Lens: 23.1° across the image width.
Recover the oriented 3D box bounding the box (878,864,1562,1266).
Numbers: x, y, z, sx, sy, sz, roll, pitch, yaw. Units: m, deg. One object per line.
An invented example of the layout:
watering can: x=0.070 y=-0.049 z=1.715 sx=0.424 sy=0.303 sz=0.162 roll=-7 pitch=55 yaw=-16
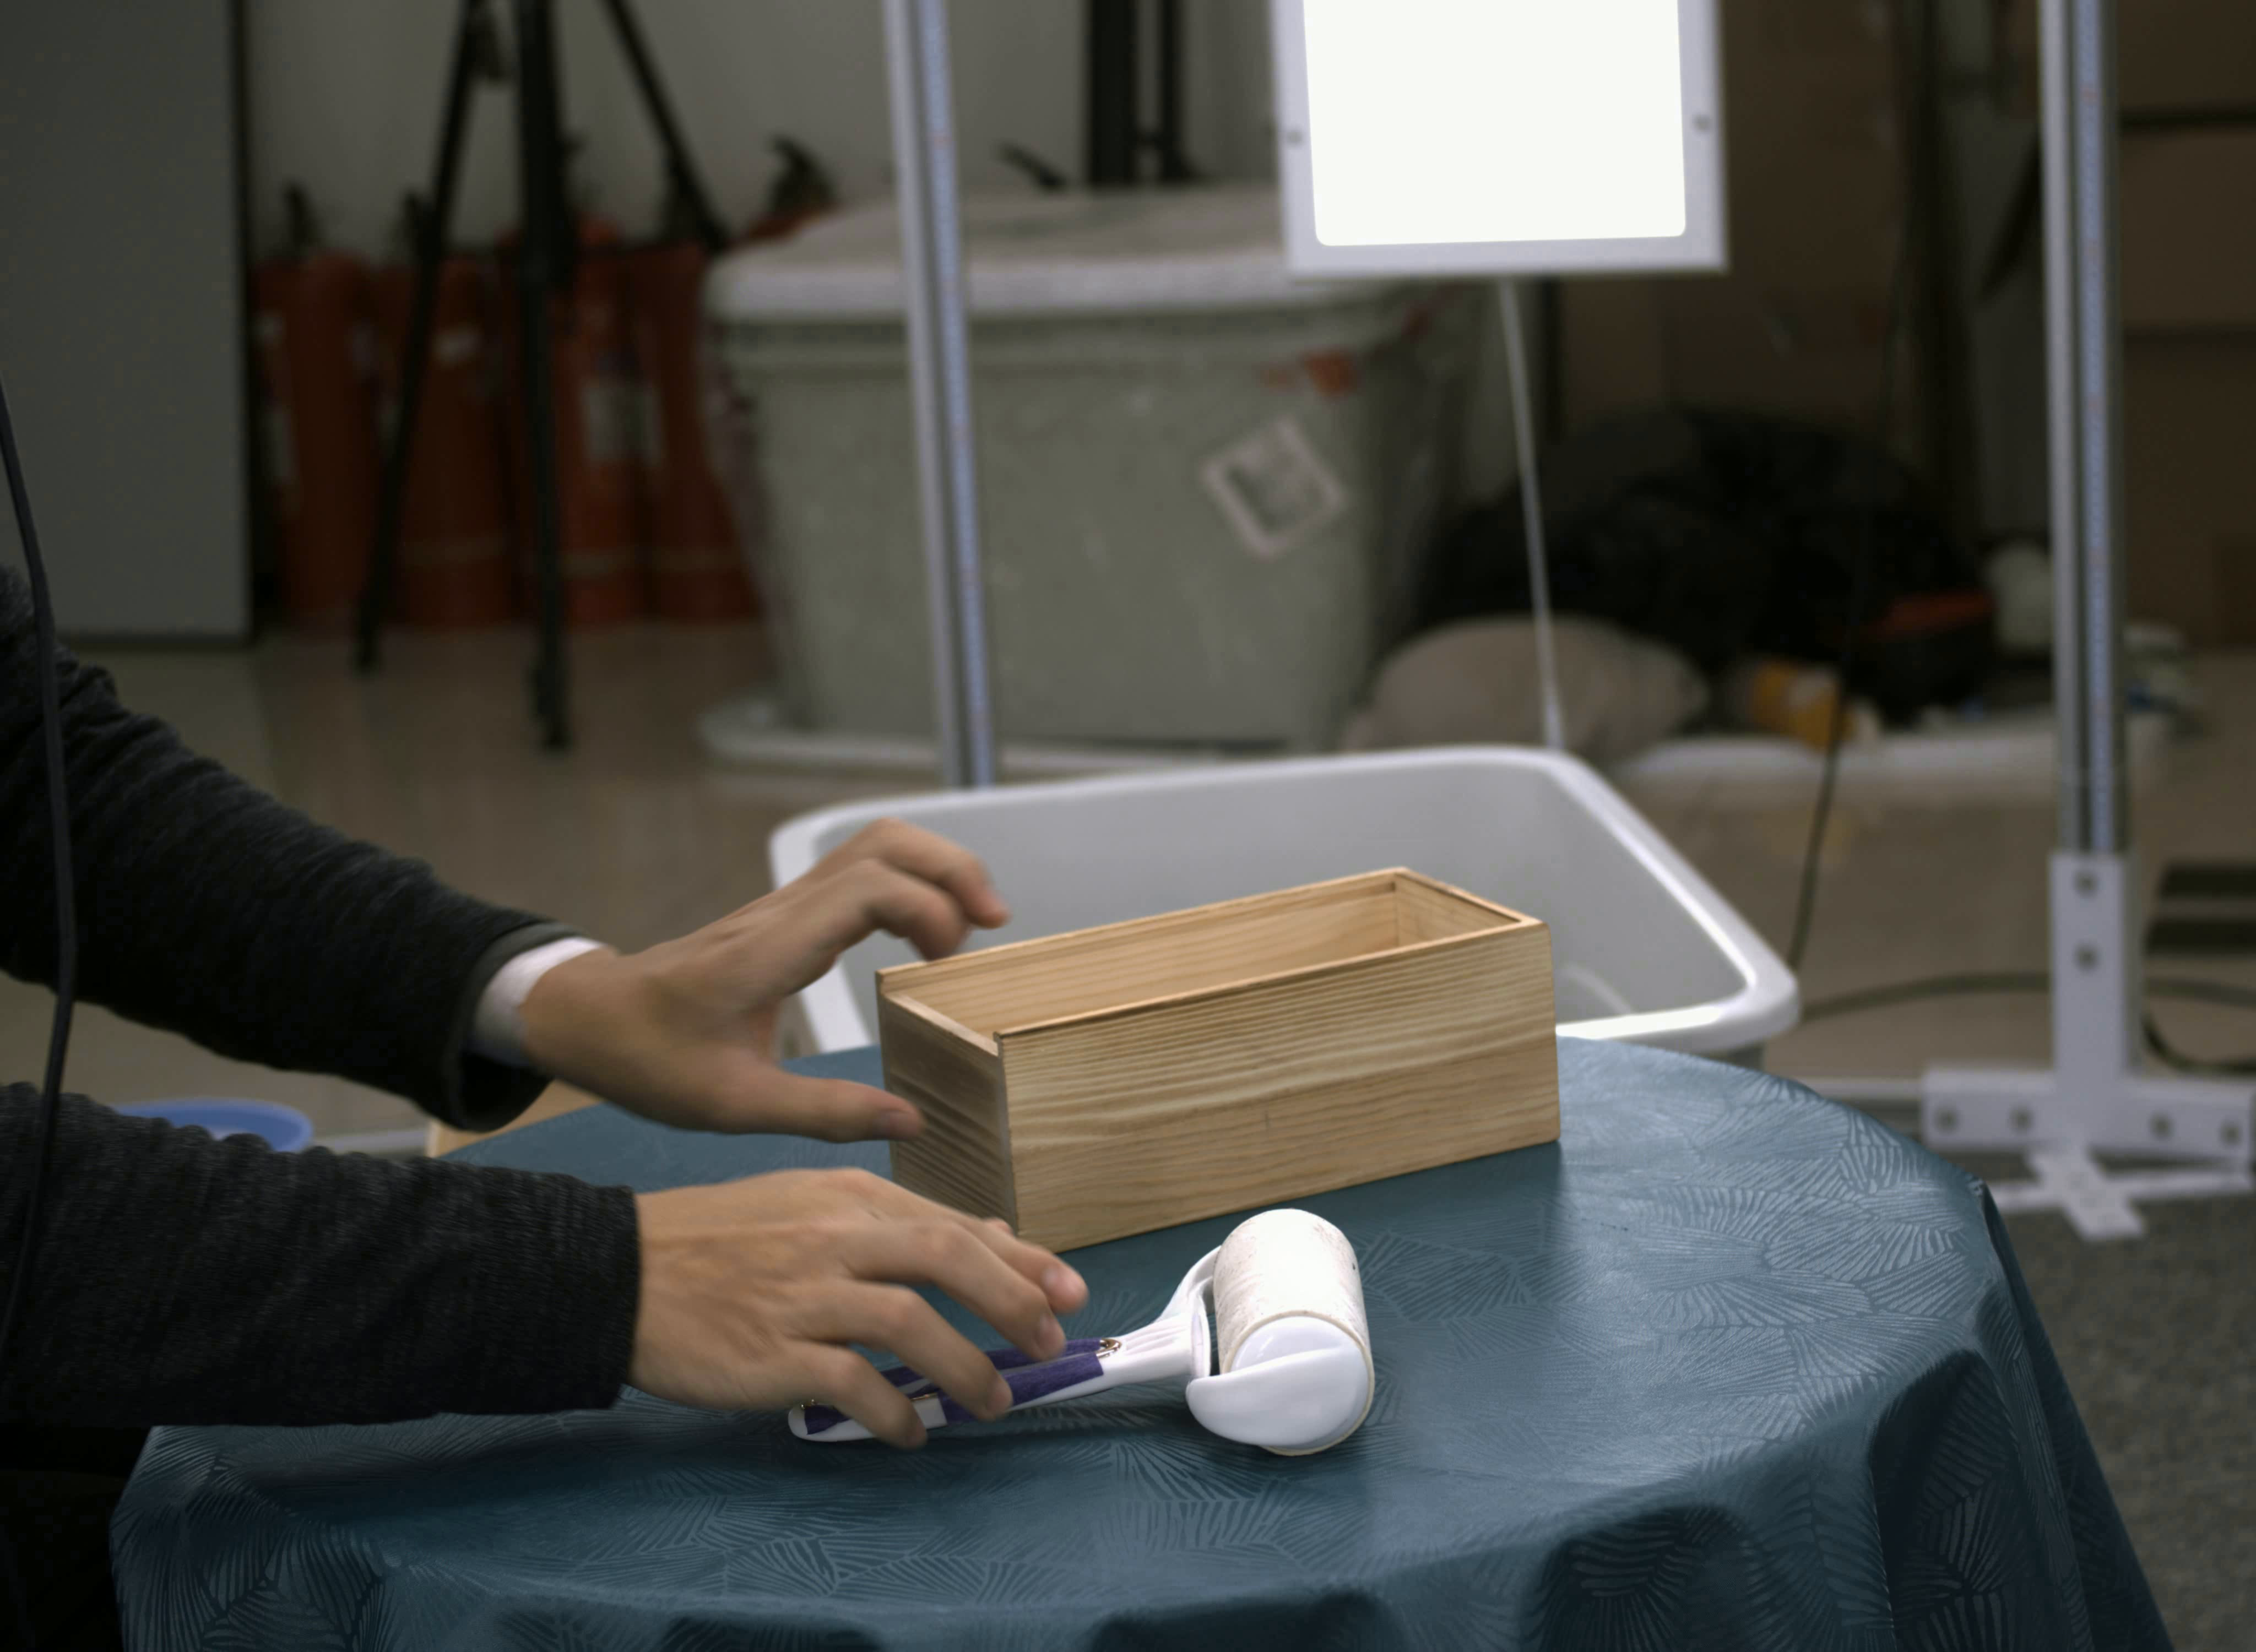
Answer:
box: x=0.032 y=0.080 z=1.909 sx=0.207 sy=0.080 sz=0.109 roll=-12 pitch=15 yaw=-23

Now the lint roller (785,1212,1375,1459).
lint roller: x=-0.015 y=0.157 z=1.679 sx=0.181 sy=0.050 sz=0.132 roll=-2 pitch=15 yaw=4
